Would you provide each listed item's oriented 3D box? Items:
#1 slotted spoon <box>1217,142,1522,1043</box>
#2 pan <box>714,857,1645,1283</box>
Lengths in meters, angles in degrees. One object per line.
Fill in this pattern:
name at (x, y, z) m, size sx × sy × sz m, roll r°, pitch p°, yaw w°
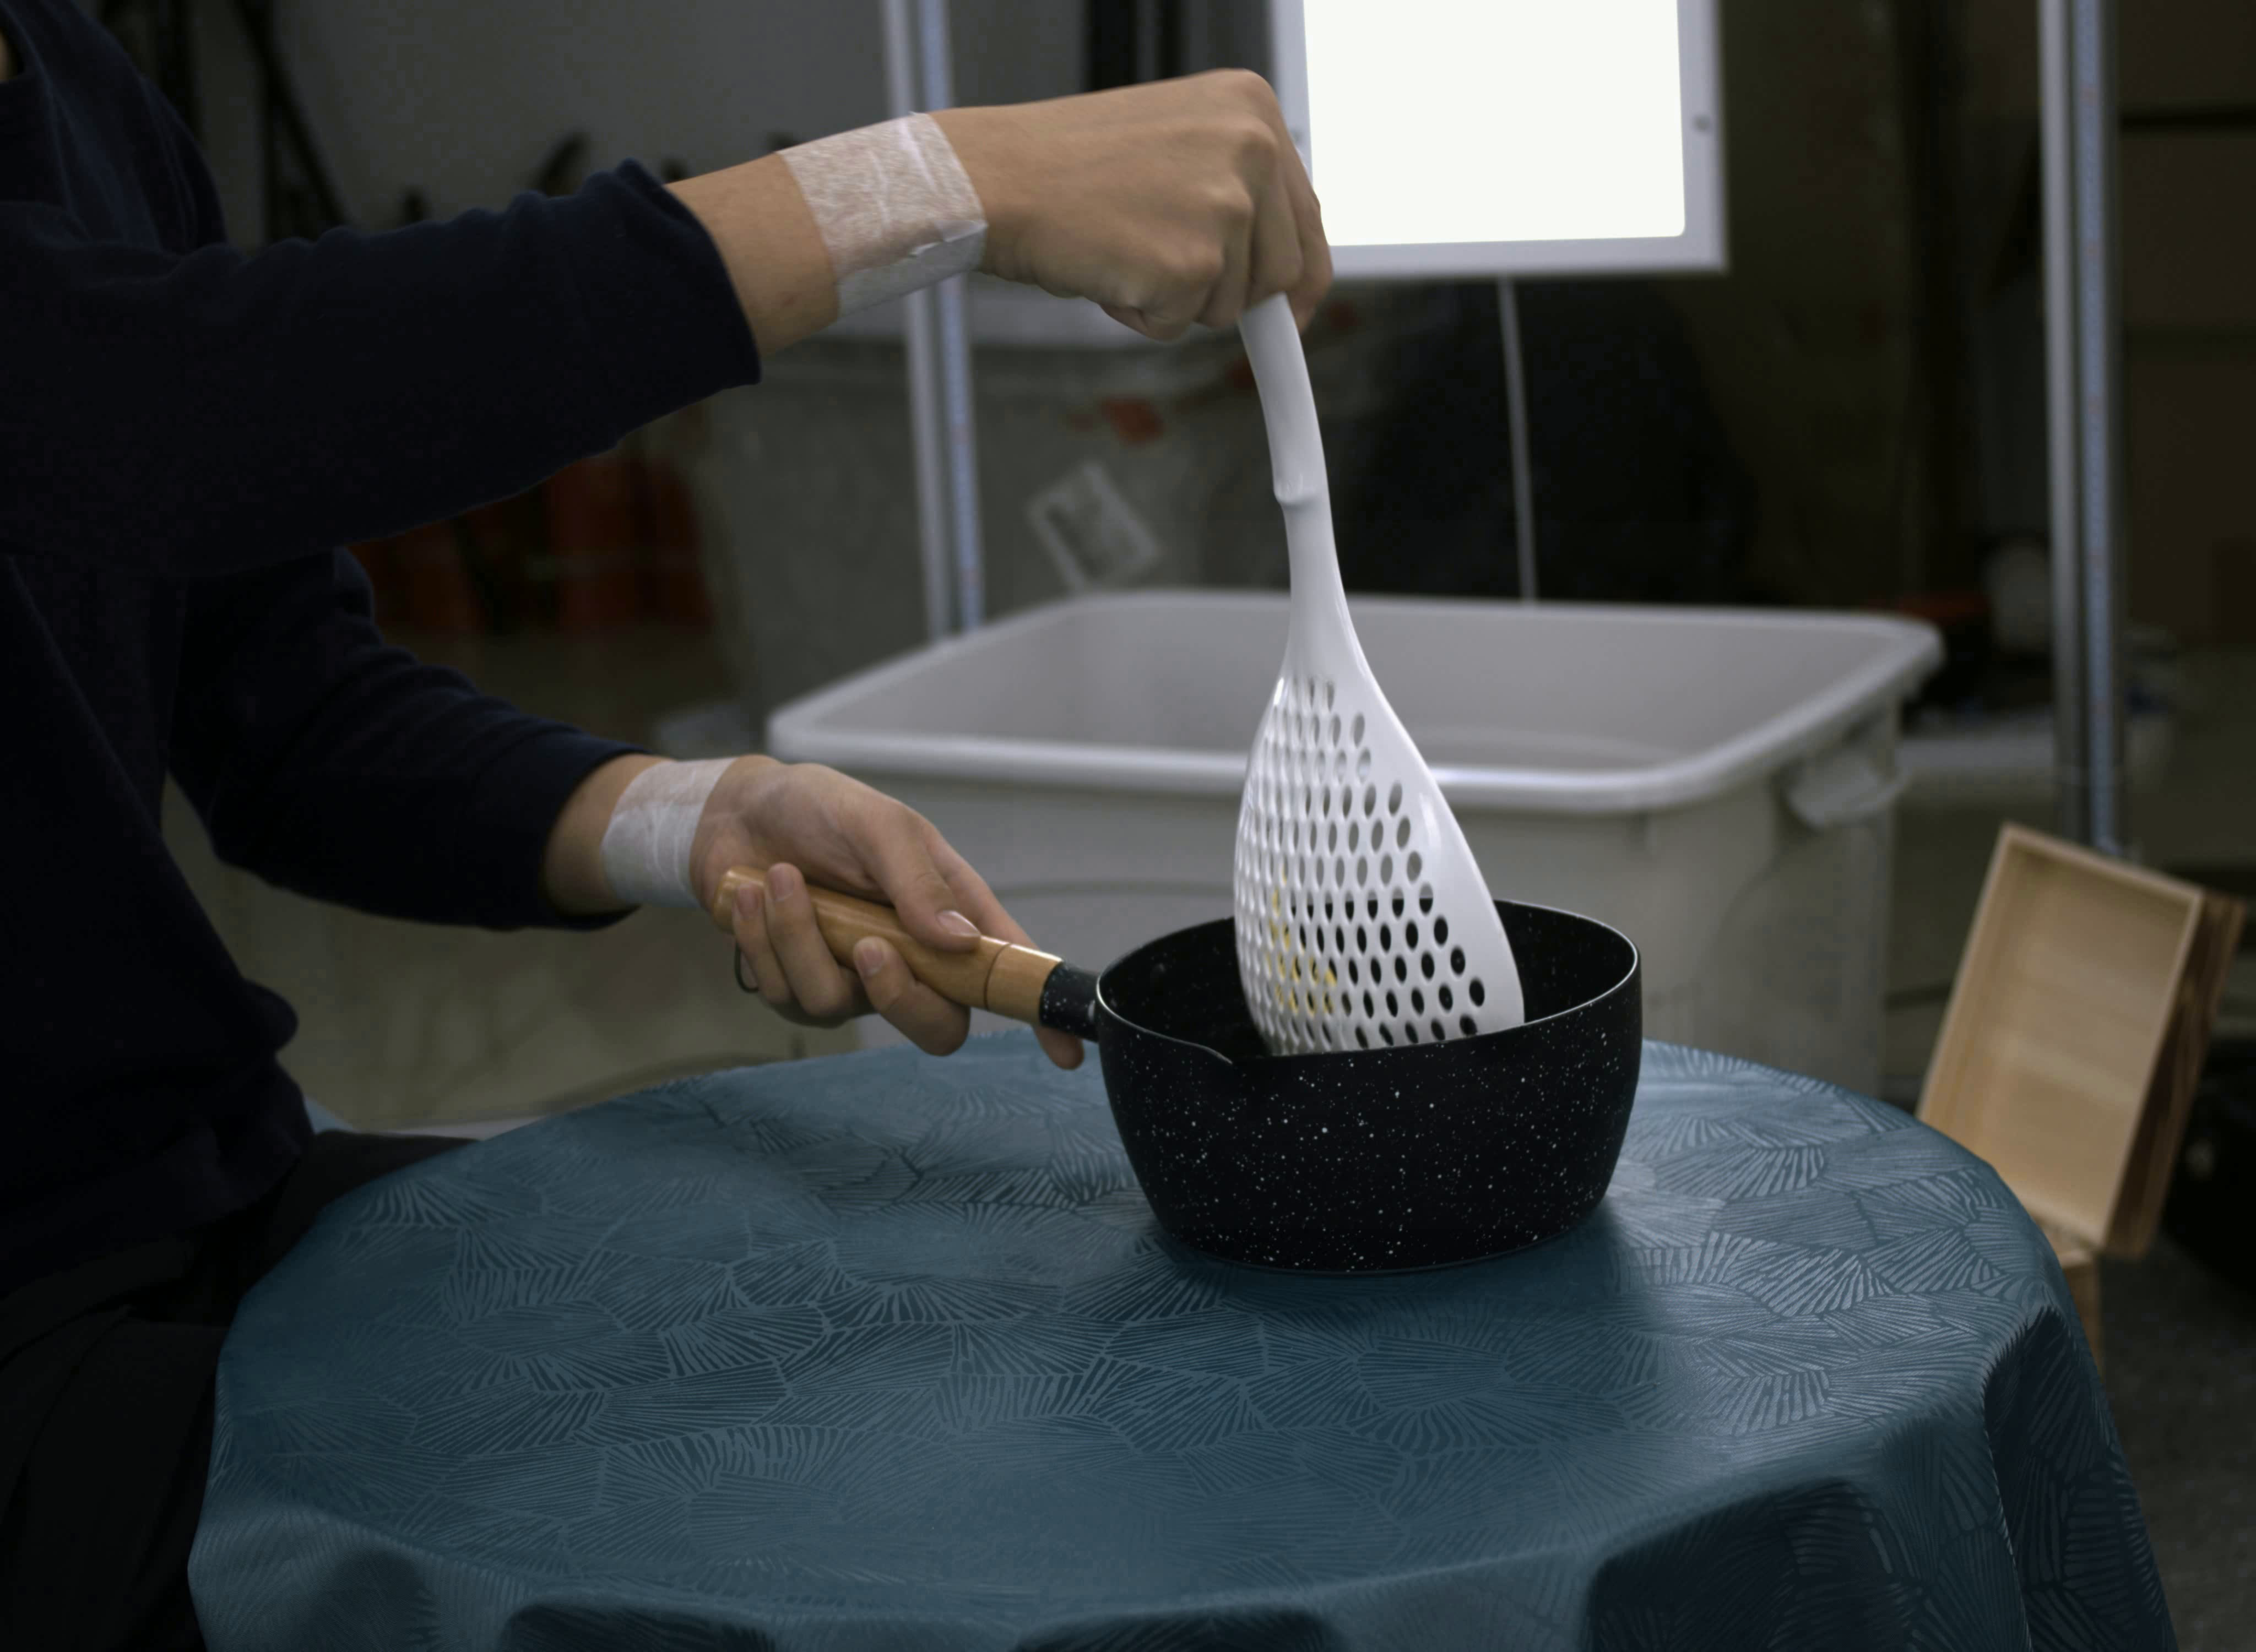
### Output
slotted spoon at (0.060, -0.053, 1.798) m, size 0.049 × 0.349 × 0.140 m, roll -15°, pitch 16°, yaw -37°
pan at (0.011, 0.074, 1.880) m, size 0.348 × 0.108 × 0.203 m, roll 3°, pitch 17°, yaw 27°
